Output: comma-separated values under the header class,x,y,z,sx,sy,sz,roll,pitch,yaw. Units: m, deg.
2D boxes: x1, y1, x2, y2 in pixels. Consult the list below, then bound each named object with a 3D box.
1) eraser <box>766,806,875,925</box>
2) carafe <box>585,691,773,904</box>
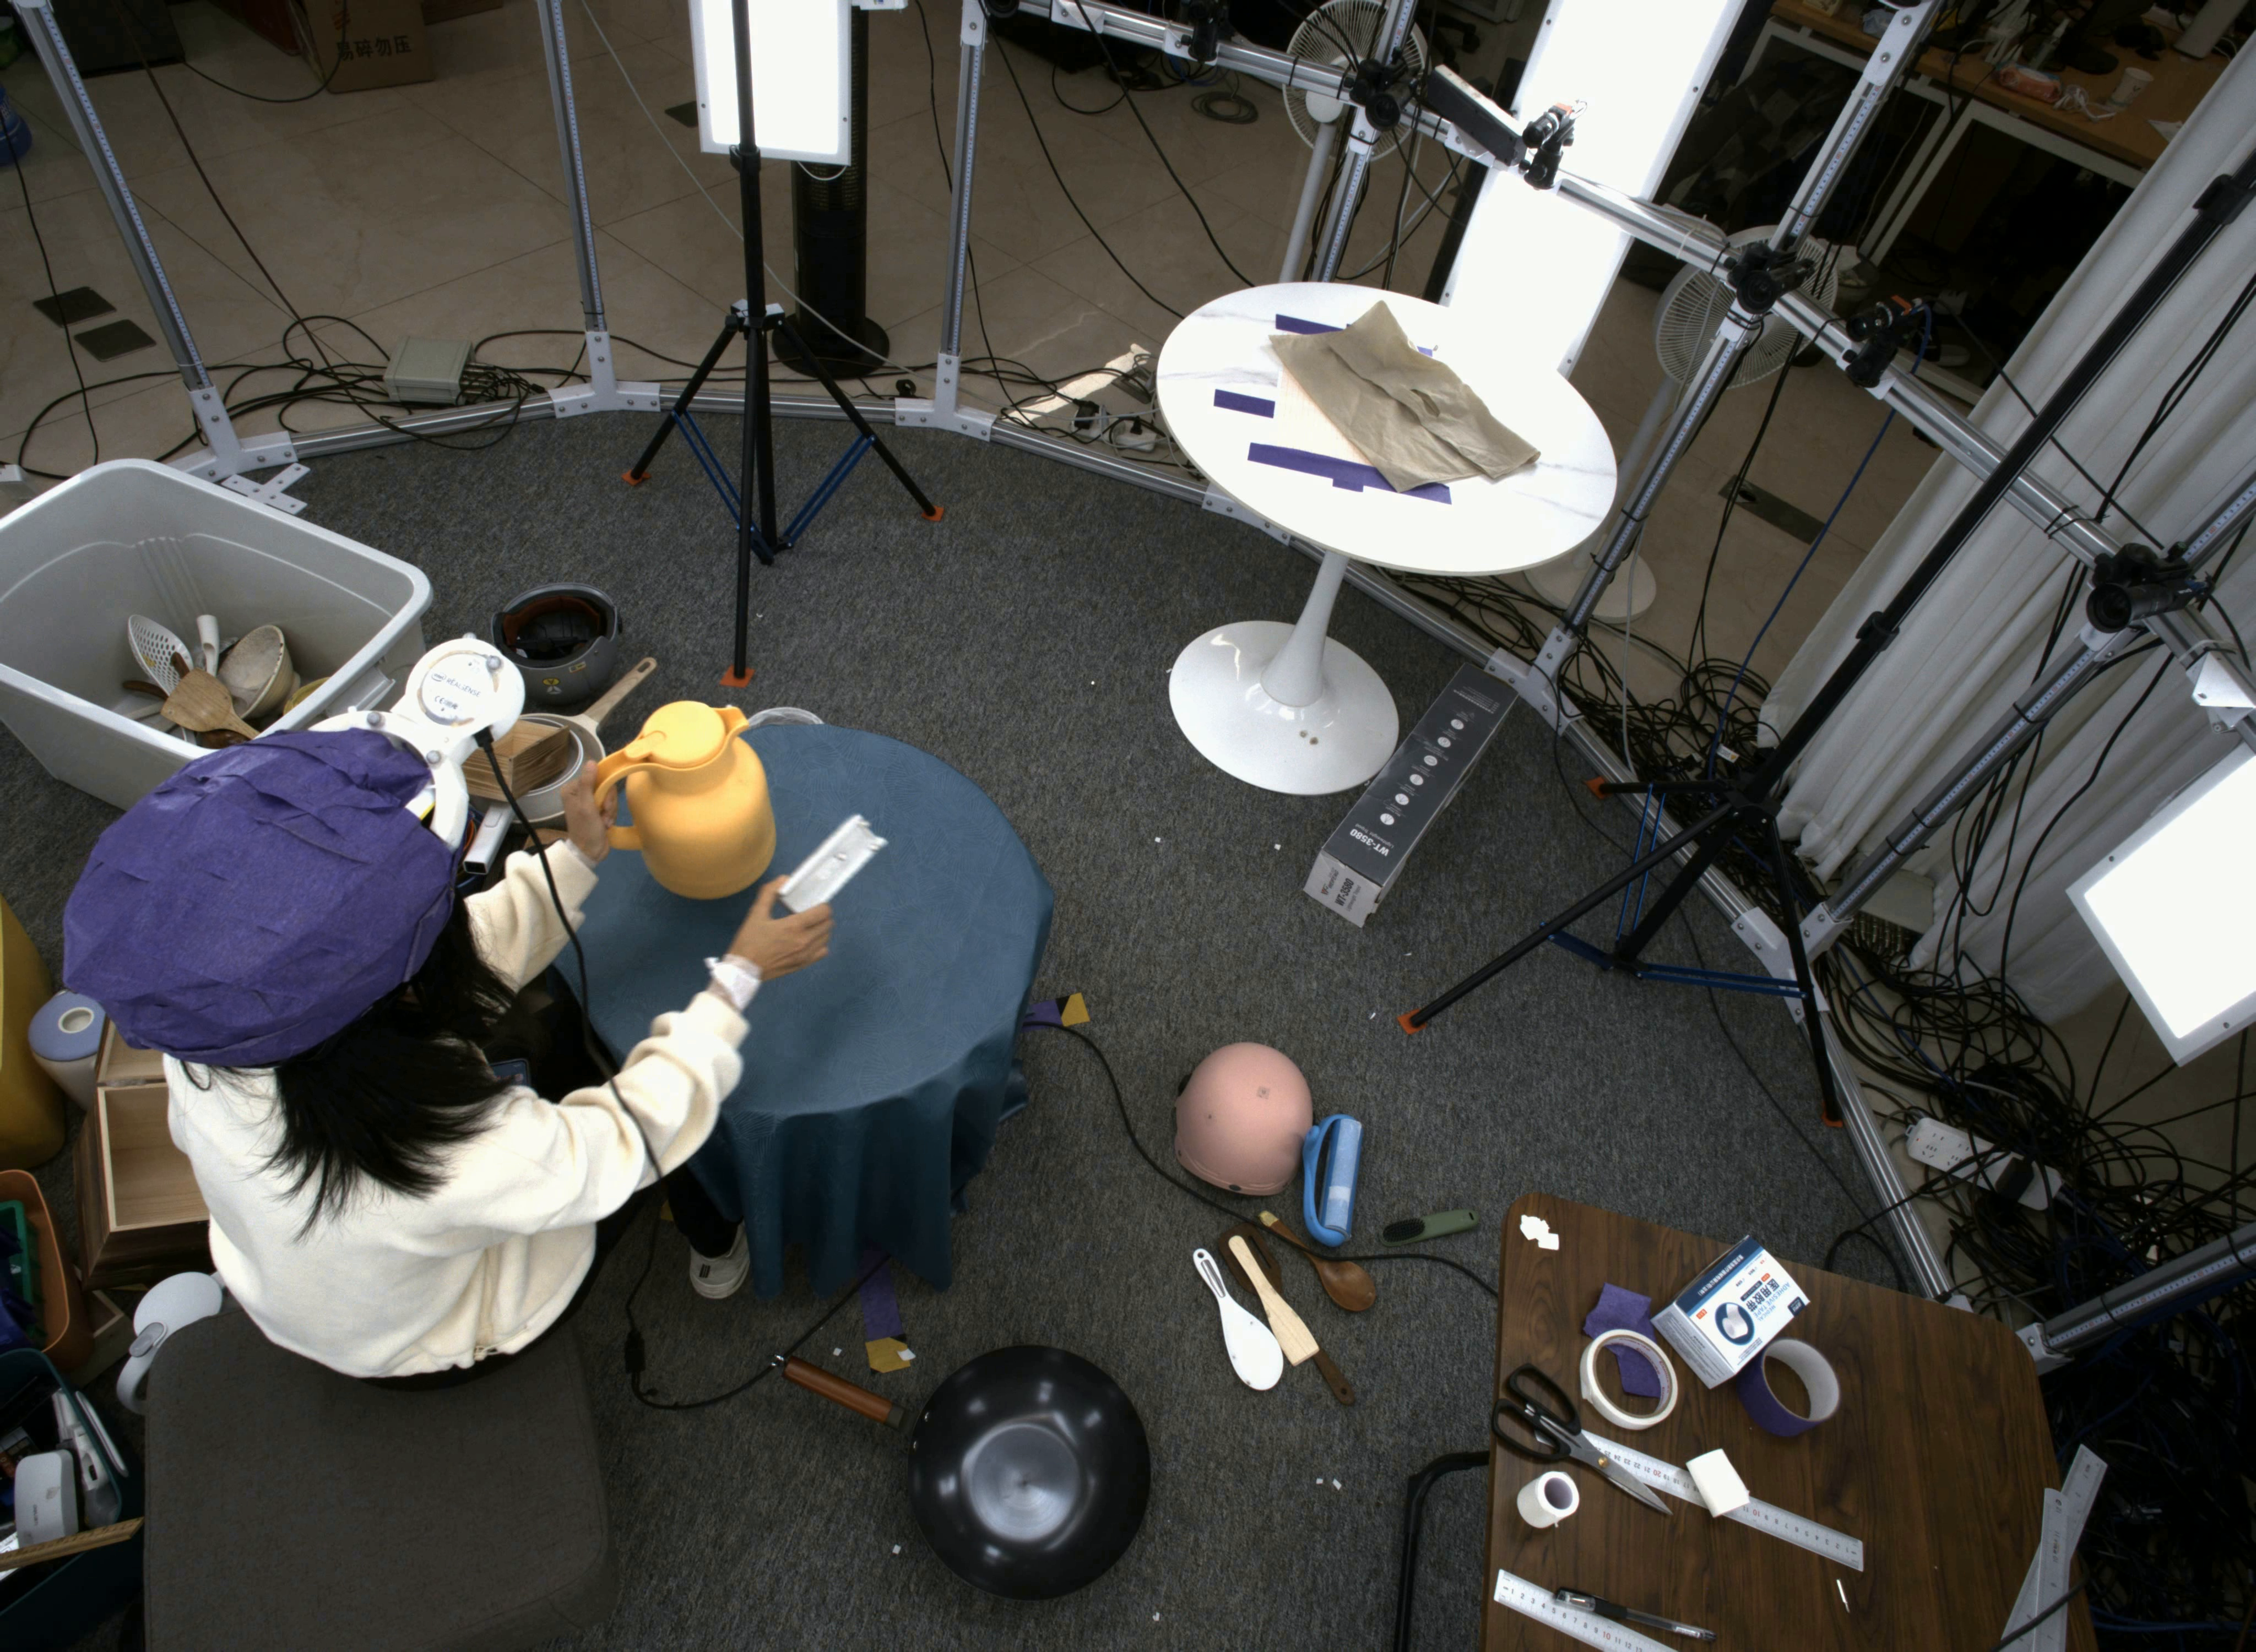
class,x,y,z,sx,sy,sz,roll,pitch,yaw
eraser,-0.353,0.044,1.482,0.051,0.046,0.134,45,61,-16
carafe,-0.522,-0.033,1.490,0.203,0.267,0.159,-23,59,-24
